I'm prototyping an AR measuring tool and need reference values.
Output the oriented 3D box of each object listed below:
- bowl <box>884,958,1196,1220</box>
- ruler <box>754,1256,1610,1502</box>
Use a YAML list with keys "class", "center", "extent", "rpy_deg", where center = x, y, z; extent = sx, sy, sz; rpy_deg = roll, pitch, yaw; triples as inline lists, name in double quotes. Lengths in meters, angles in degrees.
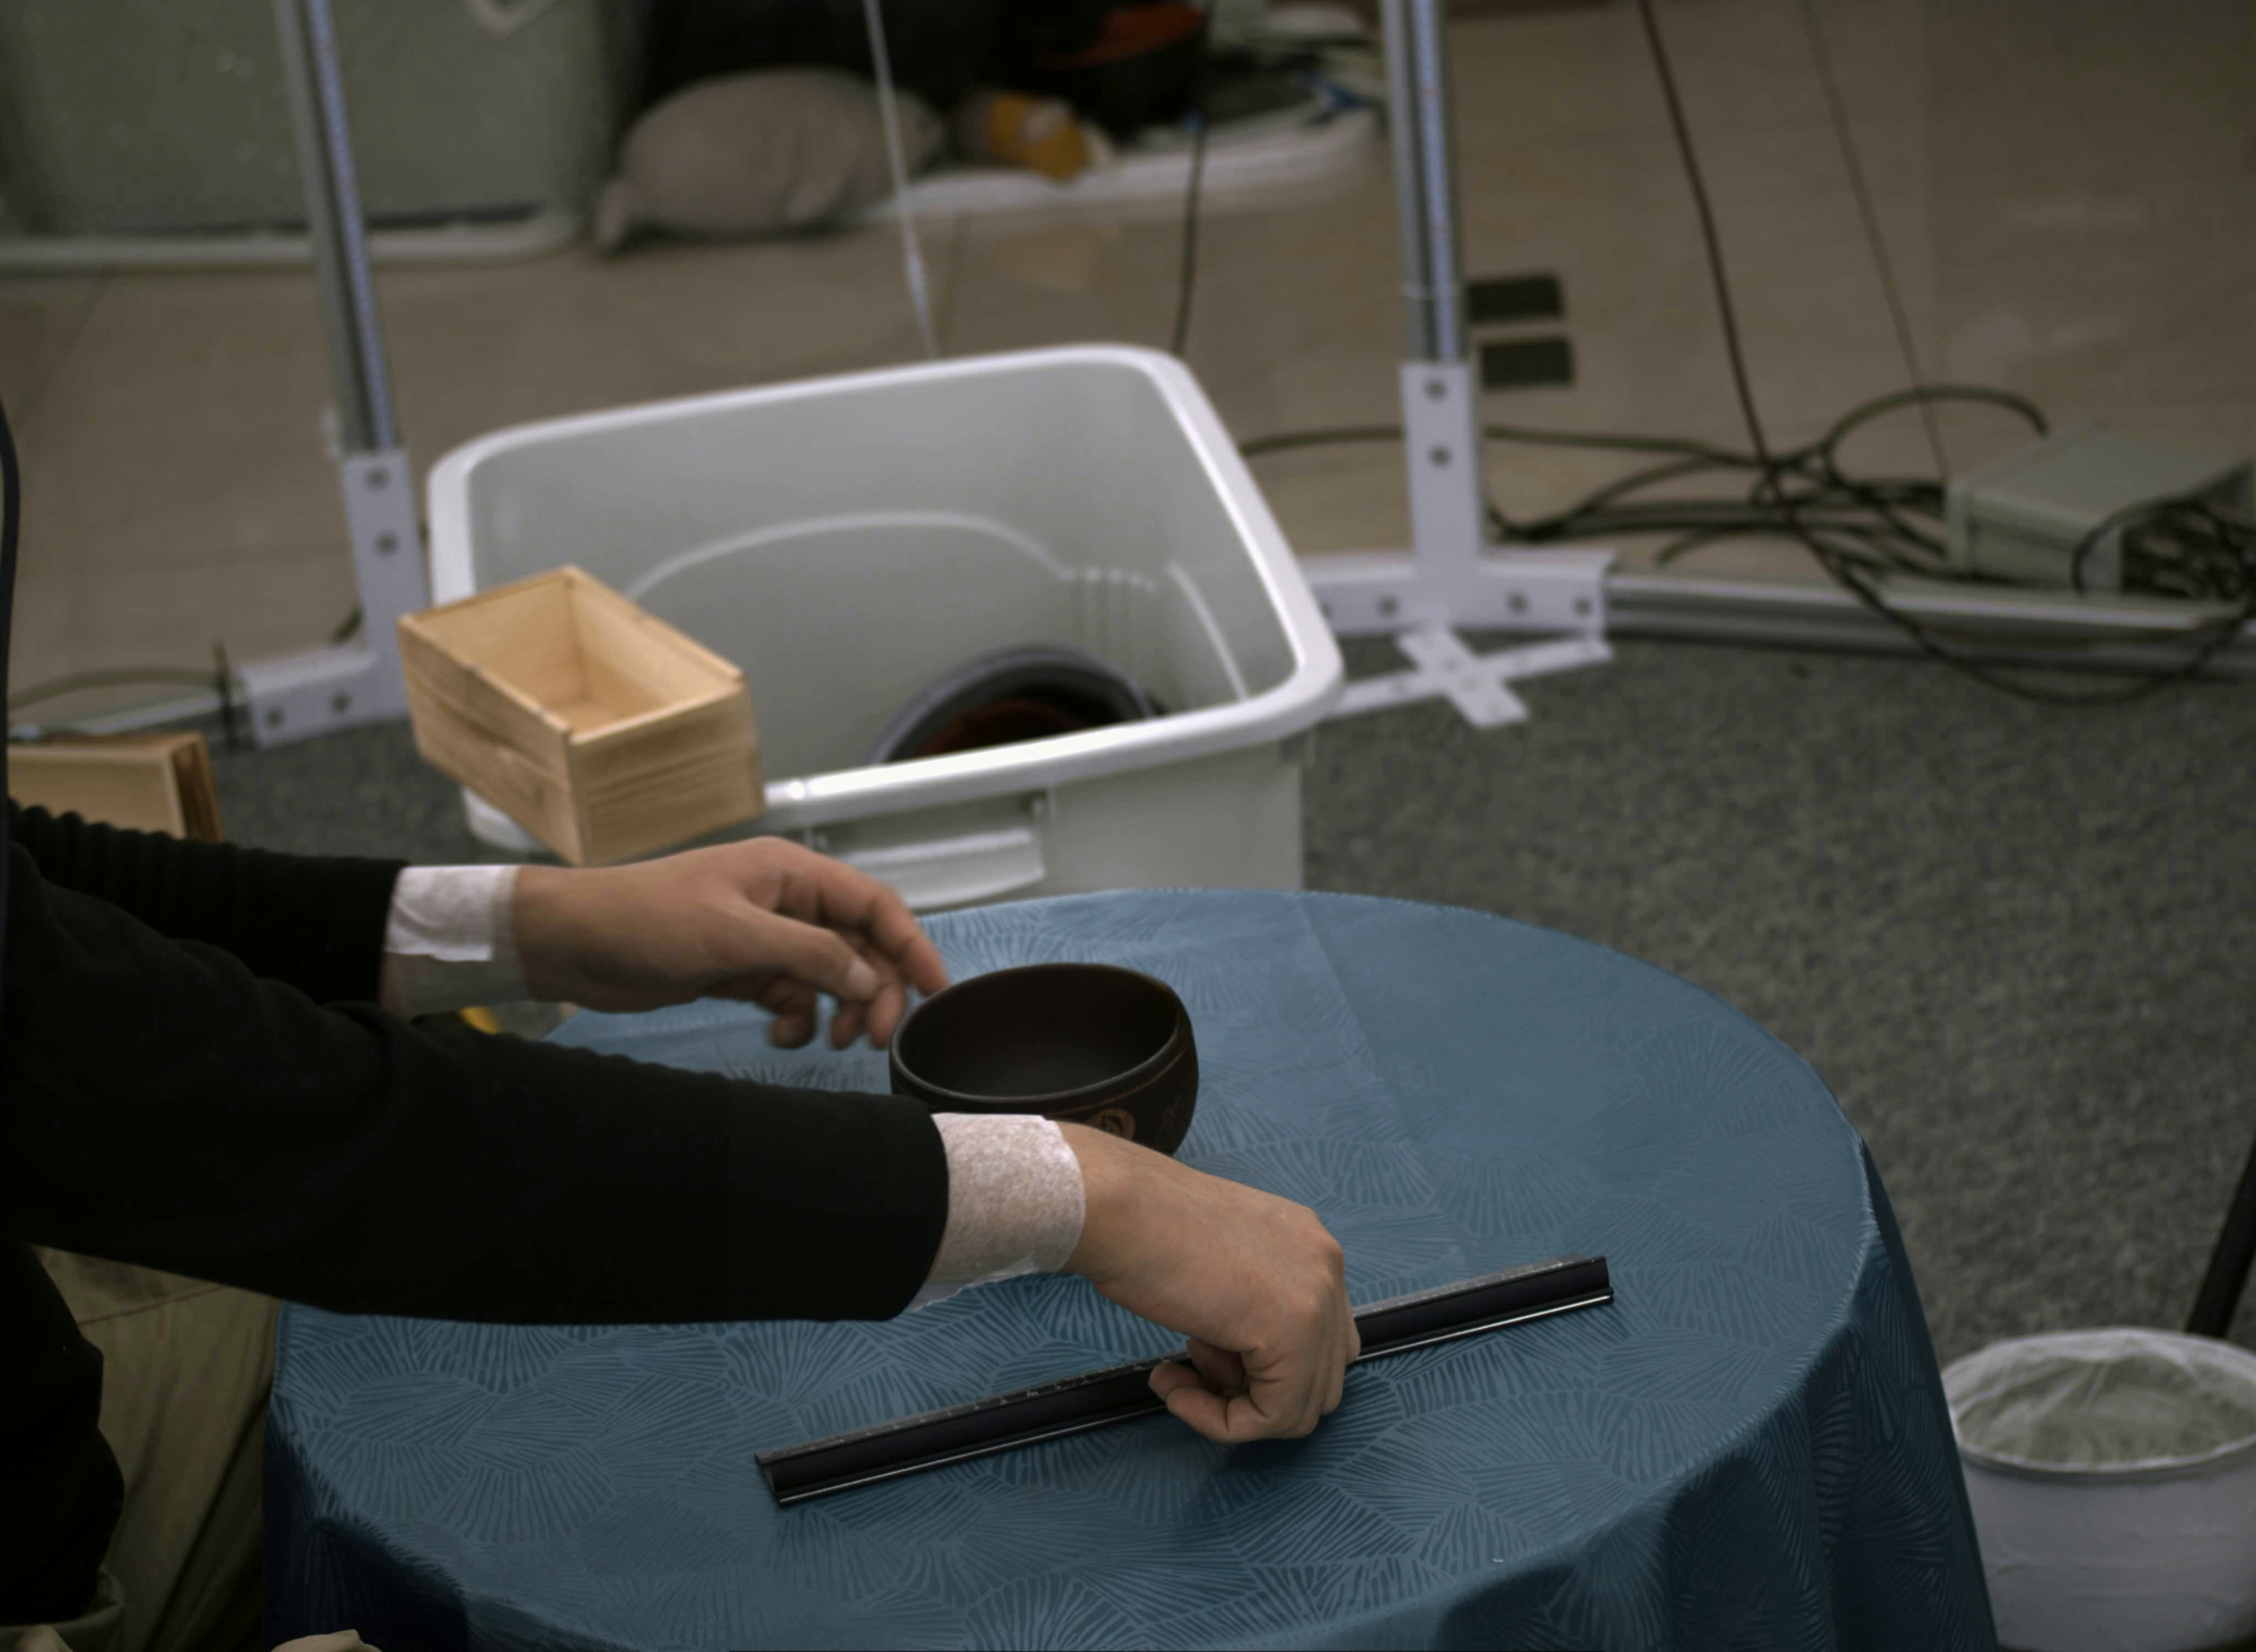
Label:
- class: "bowl"
  center: [-0.032, 0.105, 2.140]
  extent: [0.118, 0.071, 0.116]
  rpy_deg: [-5, 24, 2]
- class: "ruler"
  center: [0.020, 0.189, 2.017]
  extent: [0.311, 0.017, 0.039]
  rpy_deg: [-12, 22, -12]
